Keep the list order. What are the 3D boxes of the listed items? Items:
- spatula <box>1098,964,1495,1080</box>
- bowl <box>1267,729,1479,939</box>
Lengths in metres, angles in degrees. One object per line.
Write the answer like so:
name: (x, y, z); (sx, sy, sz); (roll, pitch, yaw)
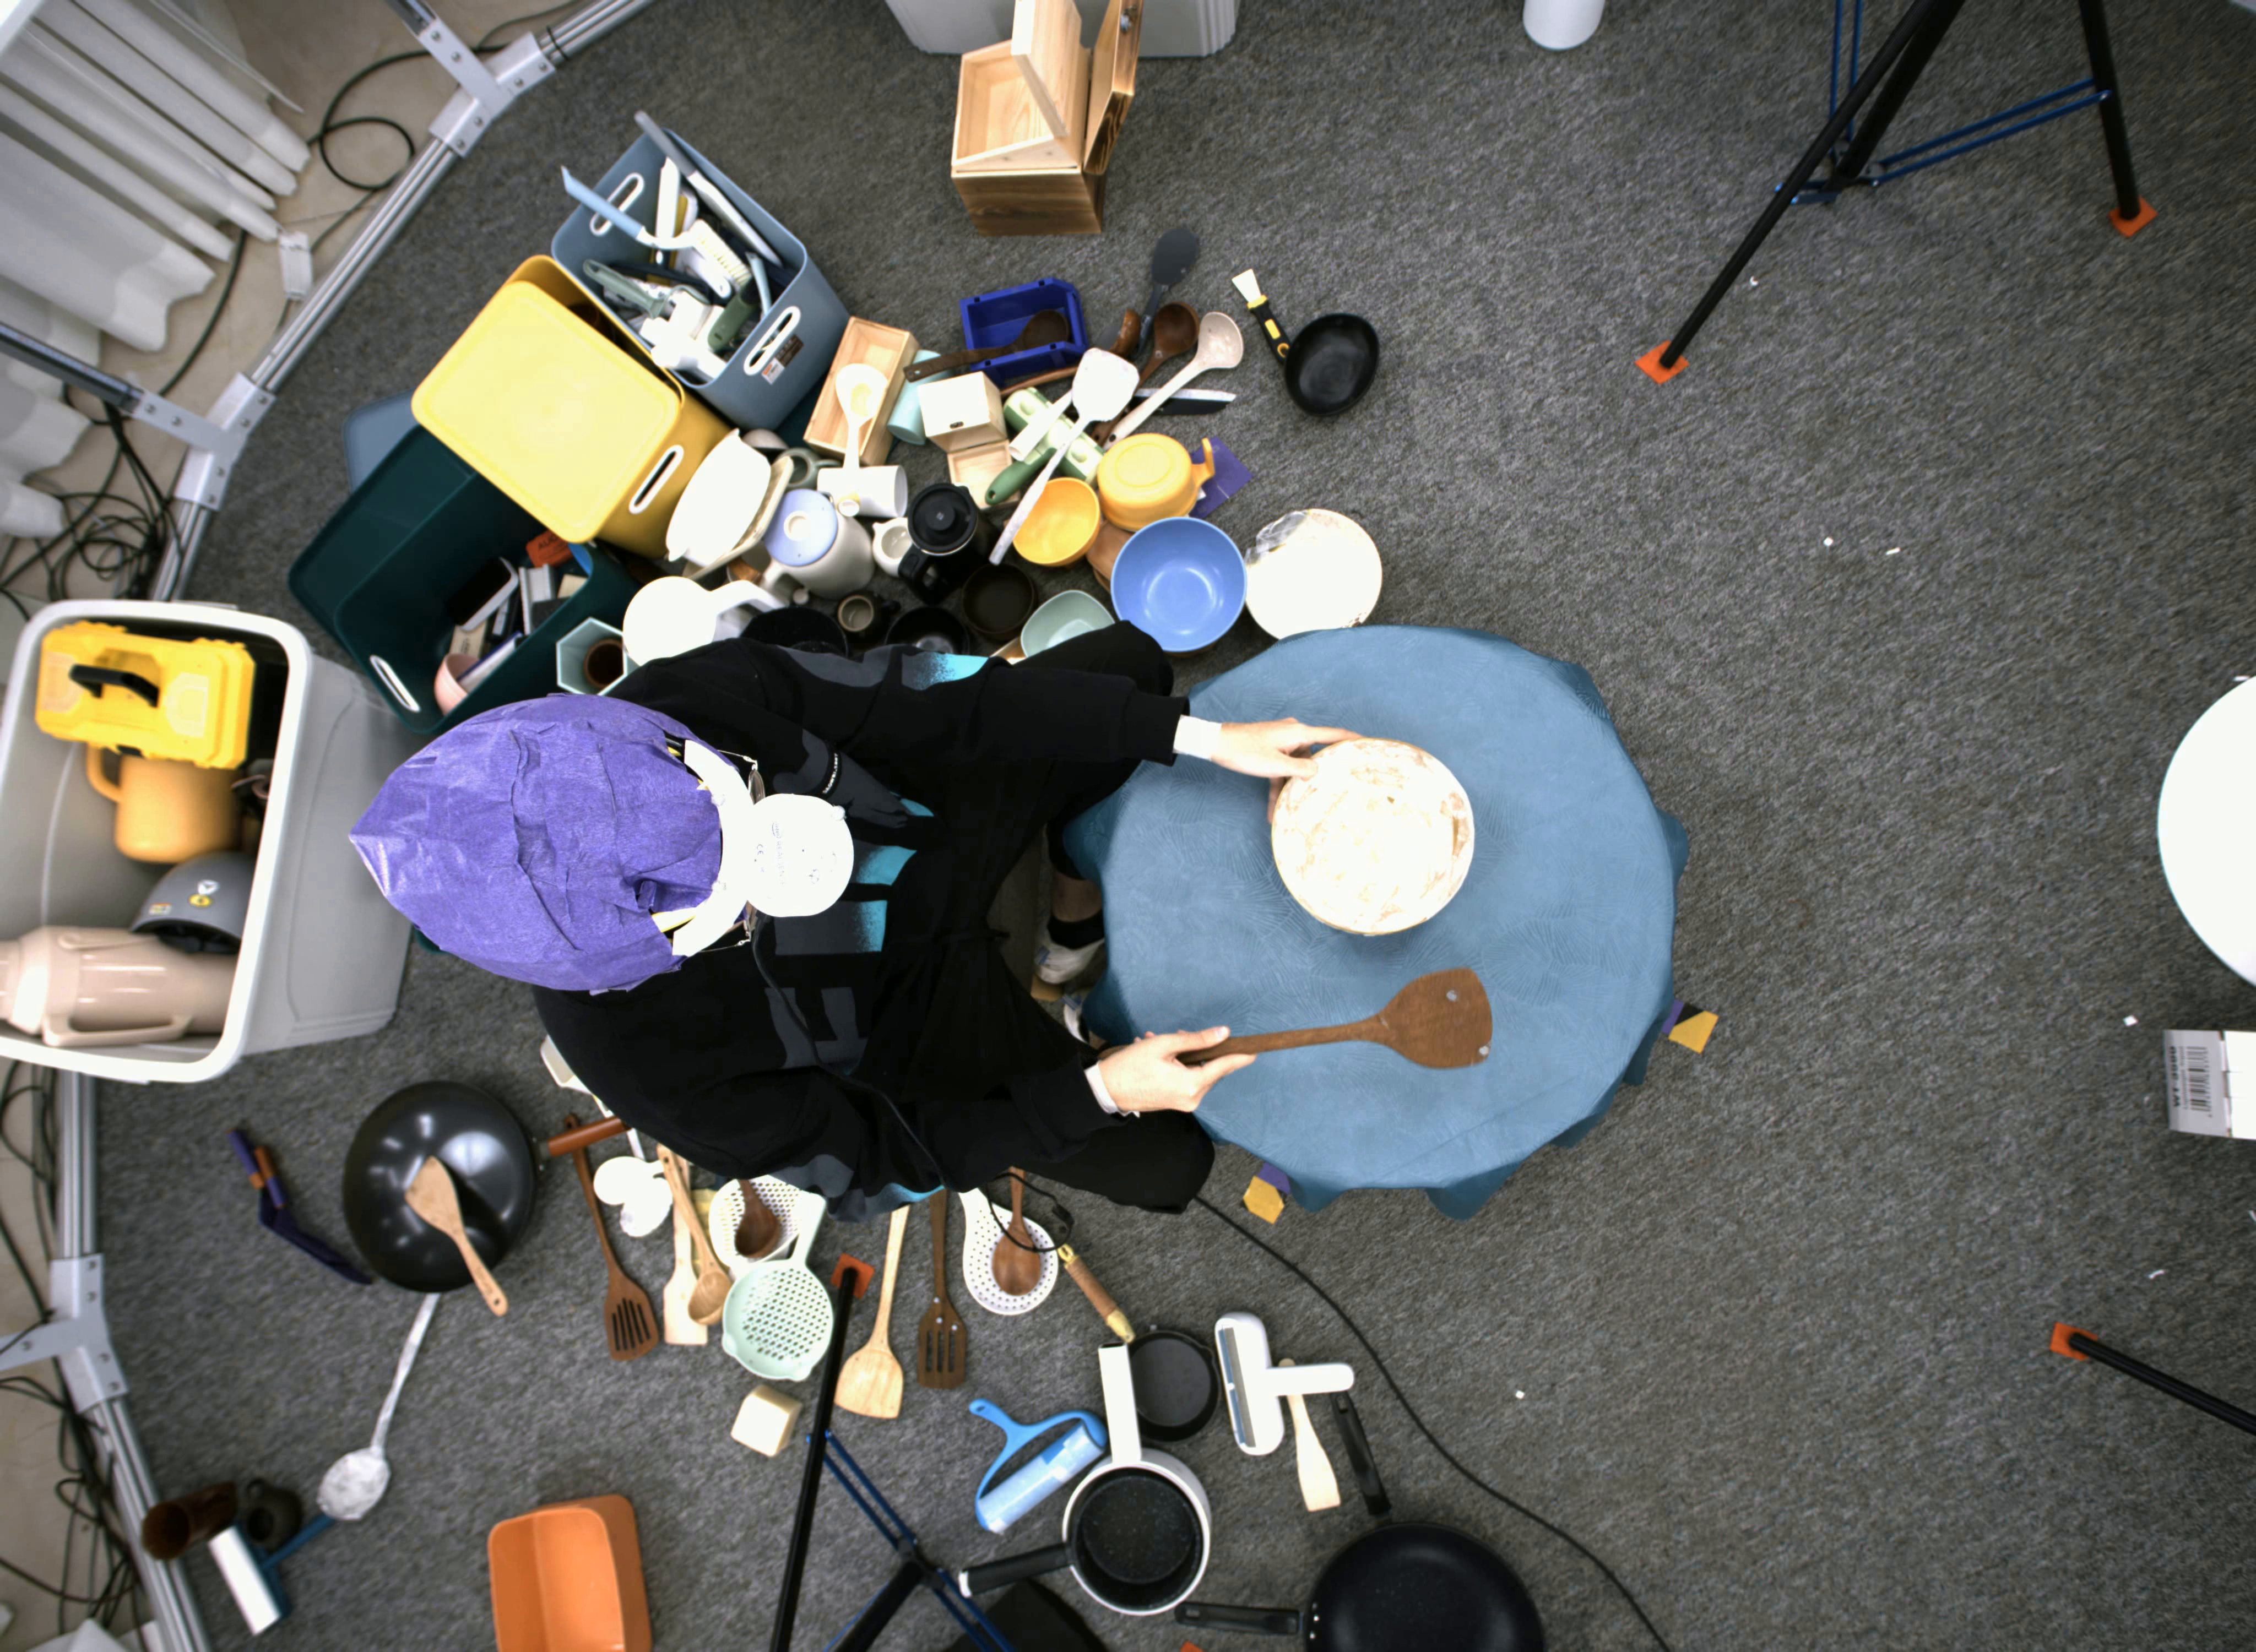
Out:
spatula: (0.156, 0.203, 1.332); (0.388, 0.016, 0.094); (-10, 67, 12)
bowl: (0.252, 0.012, 1.423); (0.215, 0.094, 0.214); (-1, 86, 11)
